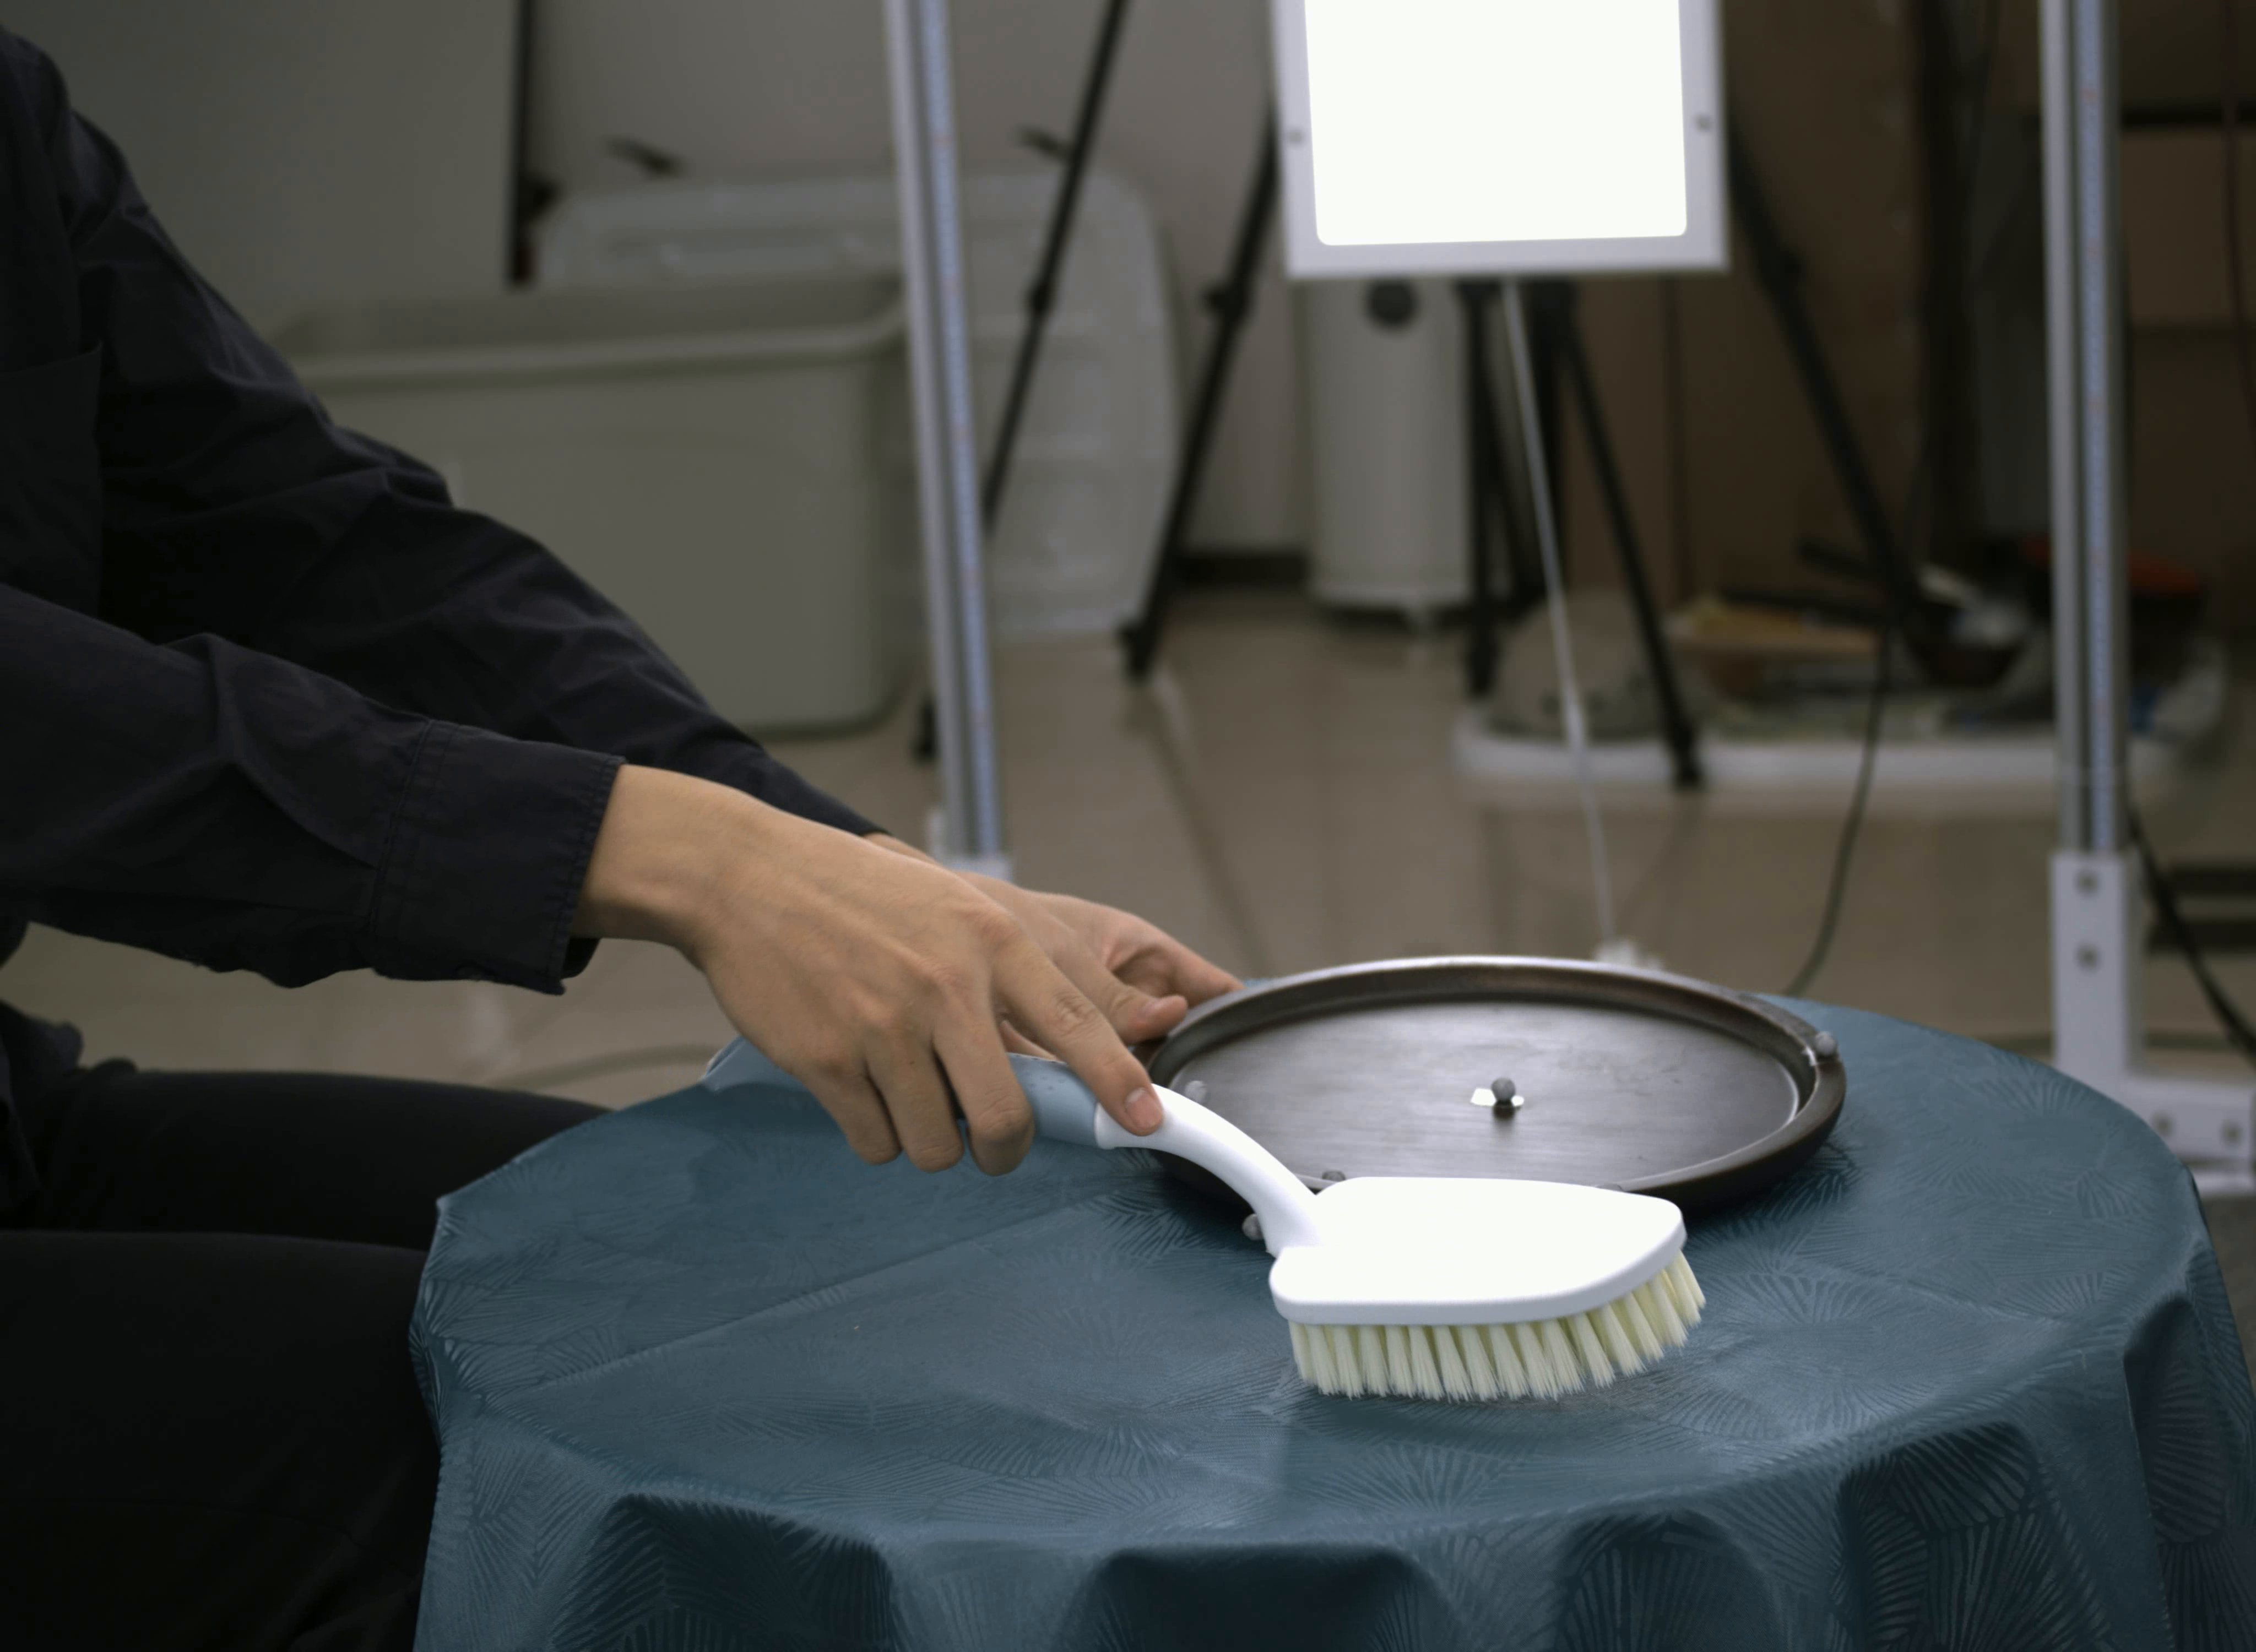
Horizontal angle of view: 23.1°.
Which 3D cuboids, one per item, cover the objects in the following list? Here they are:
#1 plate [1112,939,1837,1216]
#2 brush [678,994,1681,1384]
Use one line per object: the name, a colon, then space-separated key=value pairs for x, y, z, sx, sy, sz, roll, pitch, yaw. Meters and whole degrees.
plate: x=0.121 y=0.087 z=1.921 sx=0.254 sy=0.029 sz=0.254 roll=-3 pitch=19 yaw=0
brush: x=0.013 y=0.119 z=1.712 sx=0.329 sy=0.085 sz=0.082 roll=10 pitch=-3 yaw=19
